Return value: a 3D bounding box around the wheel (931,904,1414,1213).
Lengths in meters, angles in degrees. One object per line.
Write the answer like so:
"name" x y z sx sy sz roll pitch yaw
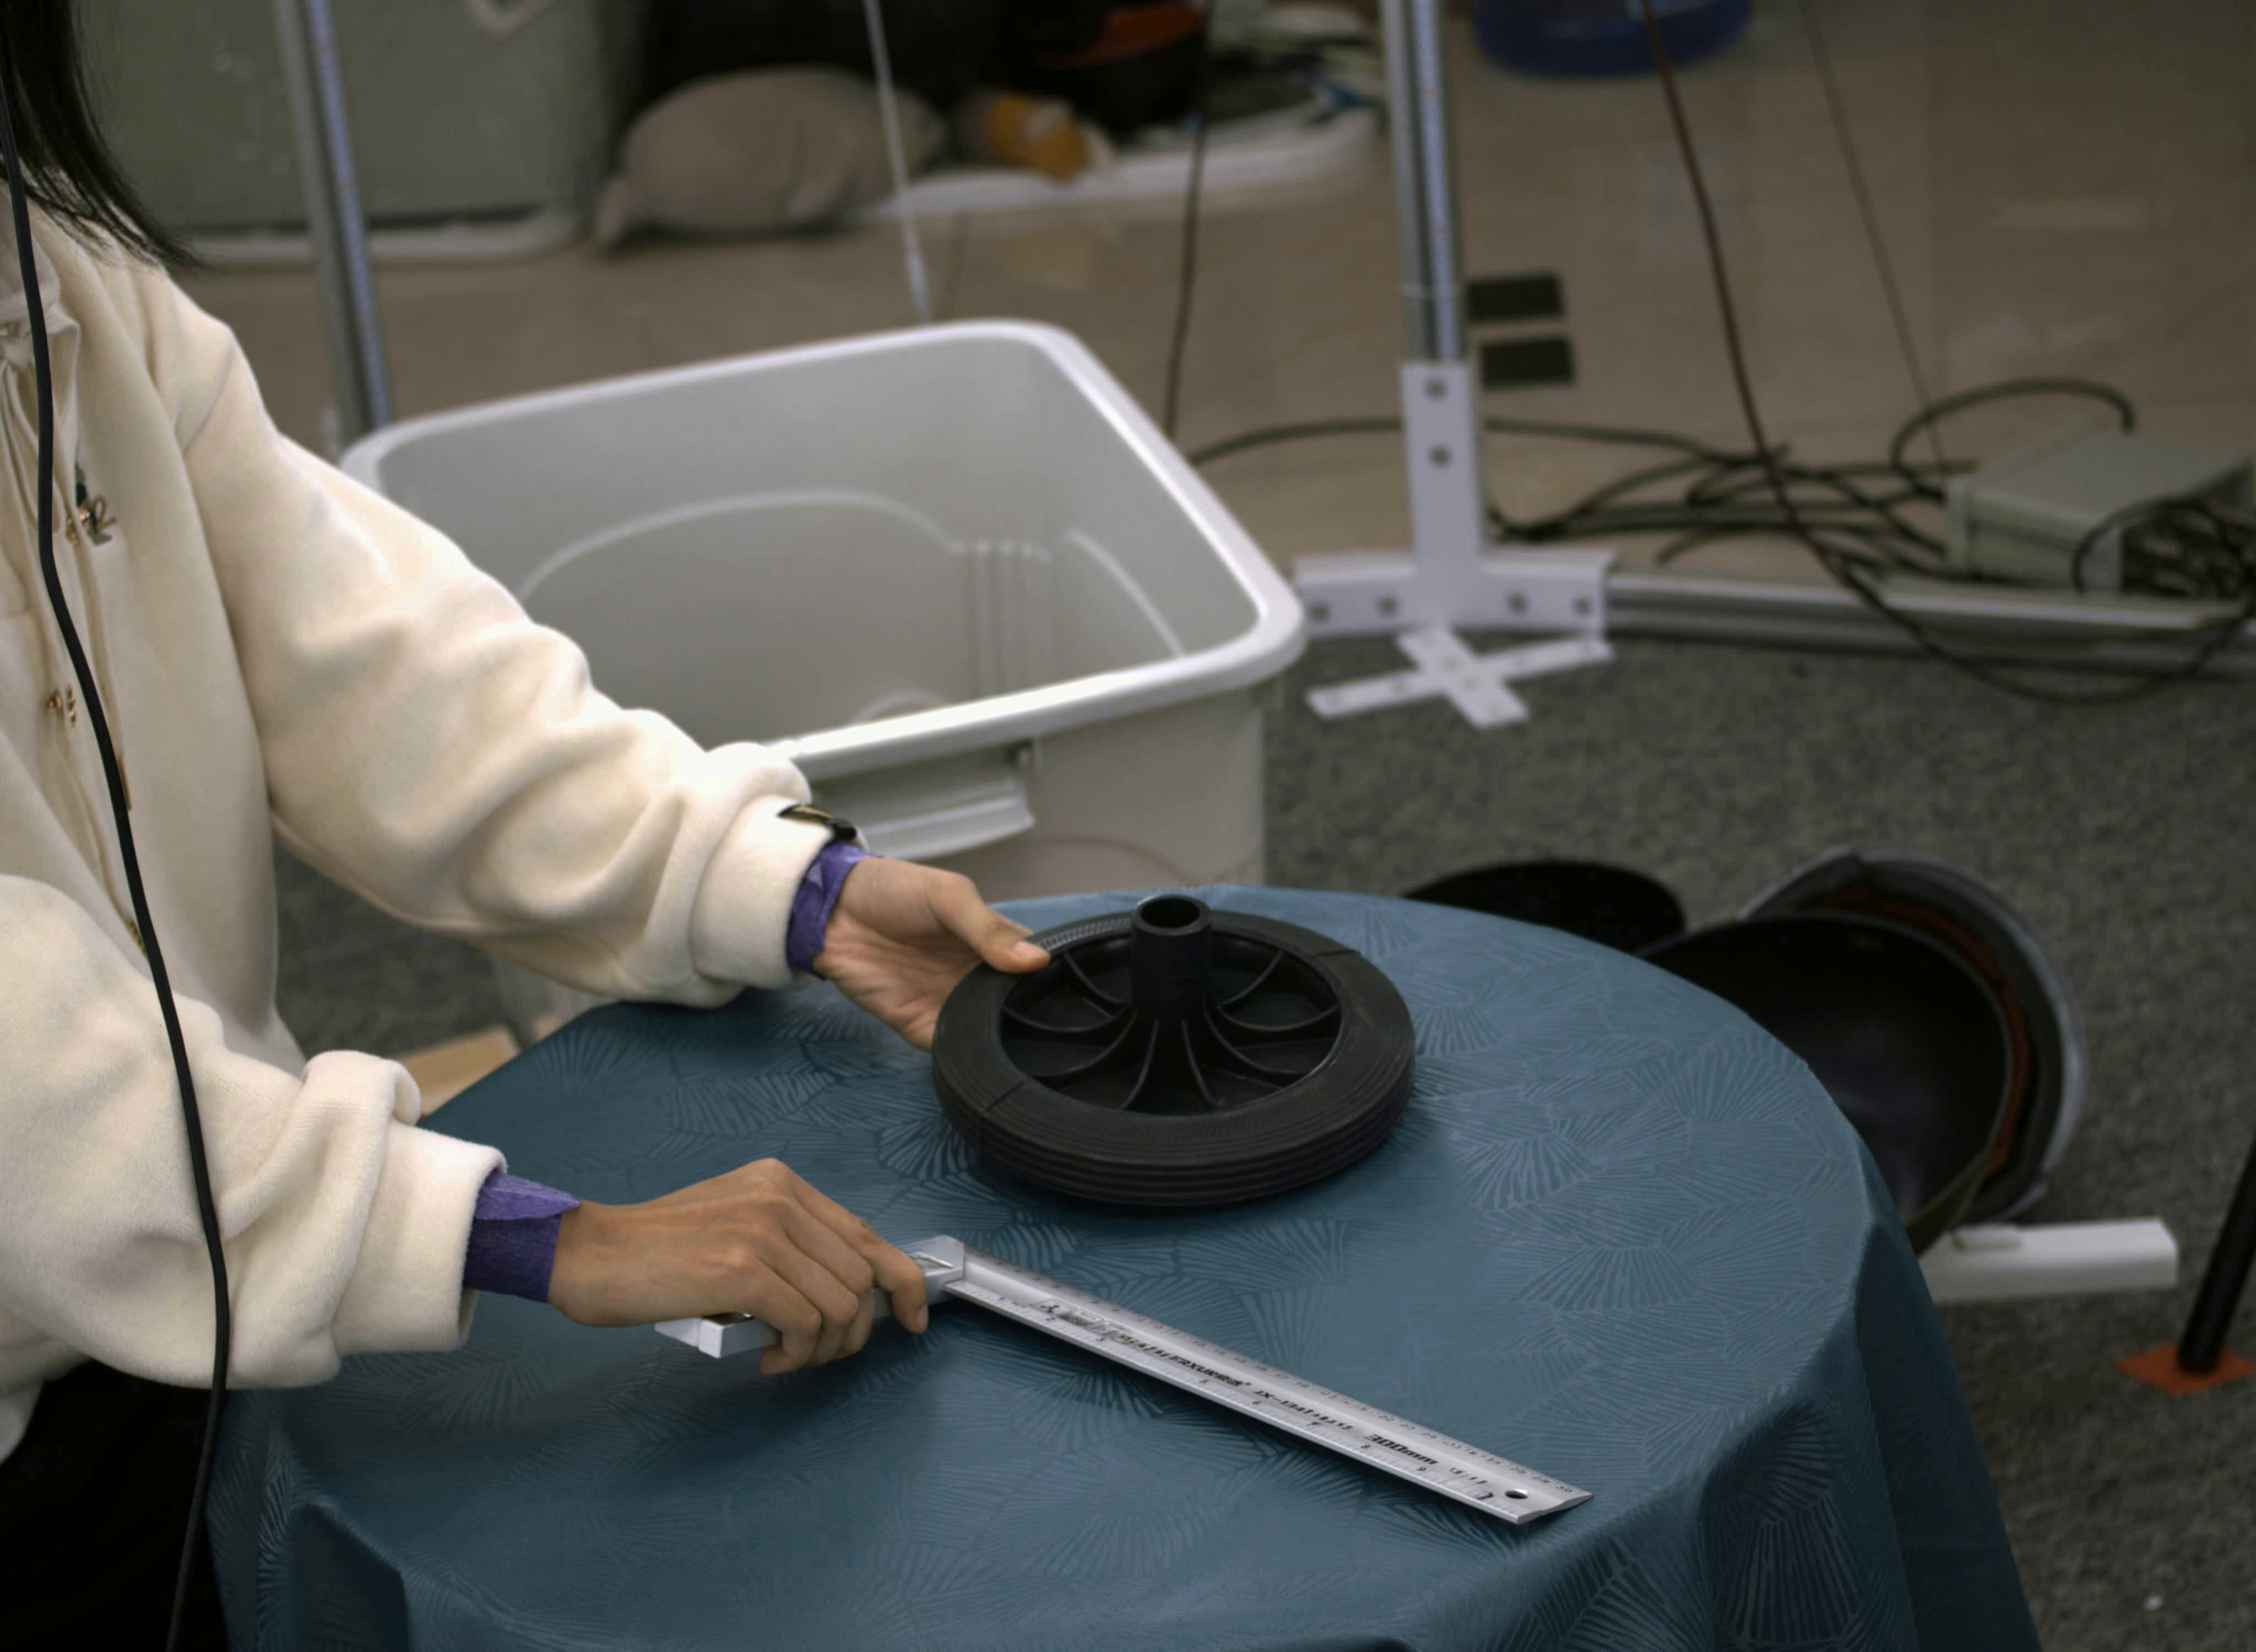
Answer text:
"wheel" 0.017 0.072 2.184 0.187 0.080 0.187 -1 30 -1

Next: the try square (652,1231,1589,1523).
"try square" -0.007 0.202 1.972 0.310 0.016 0.151 18 22 41
